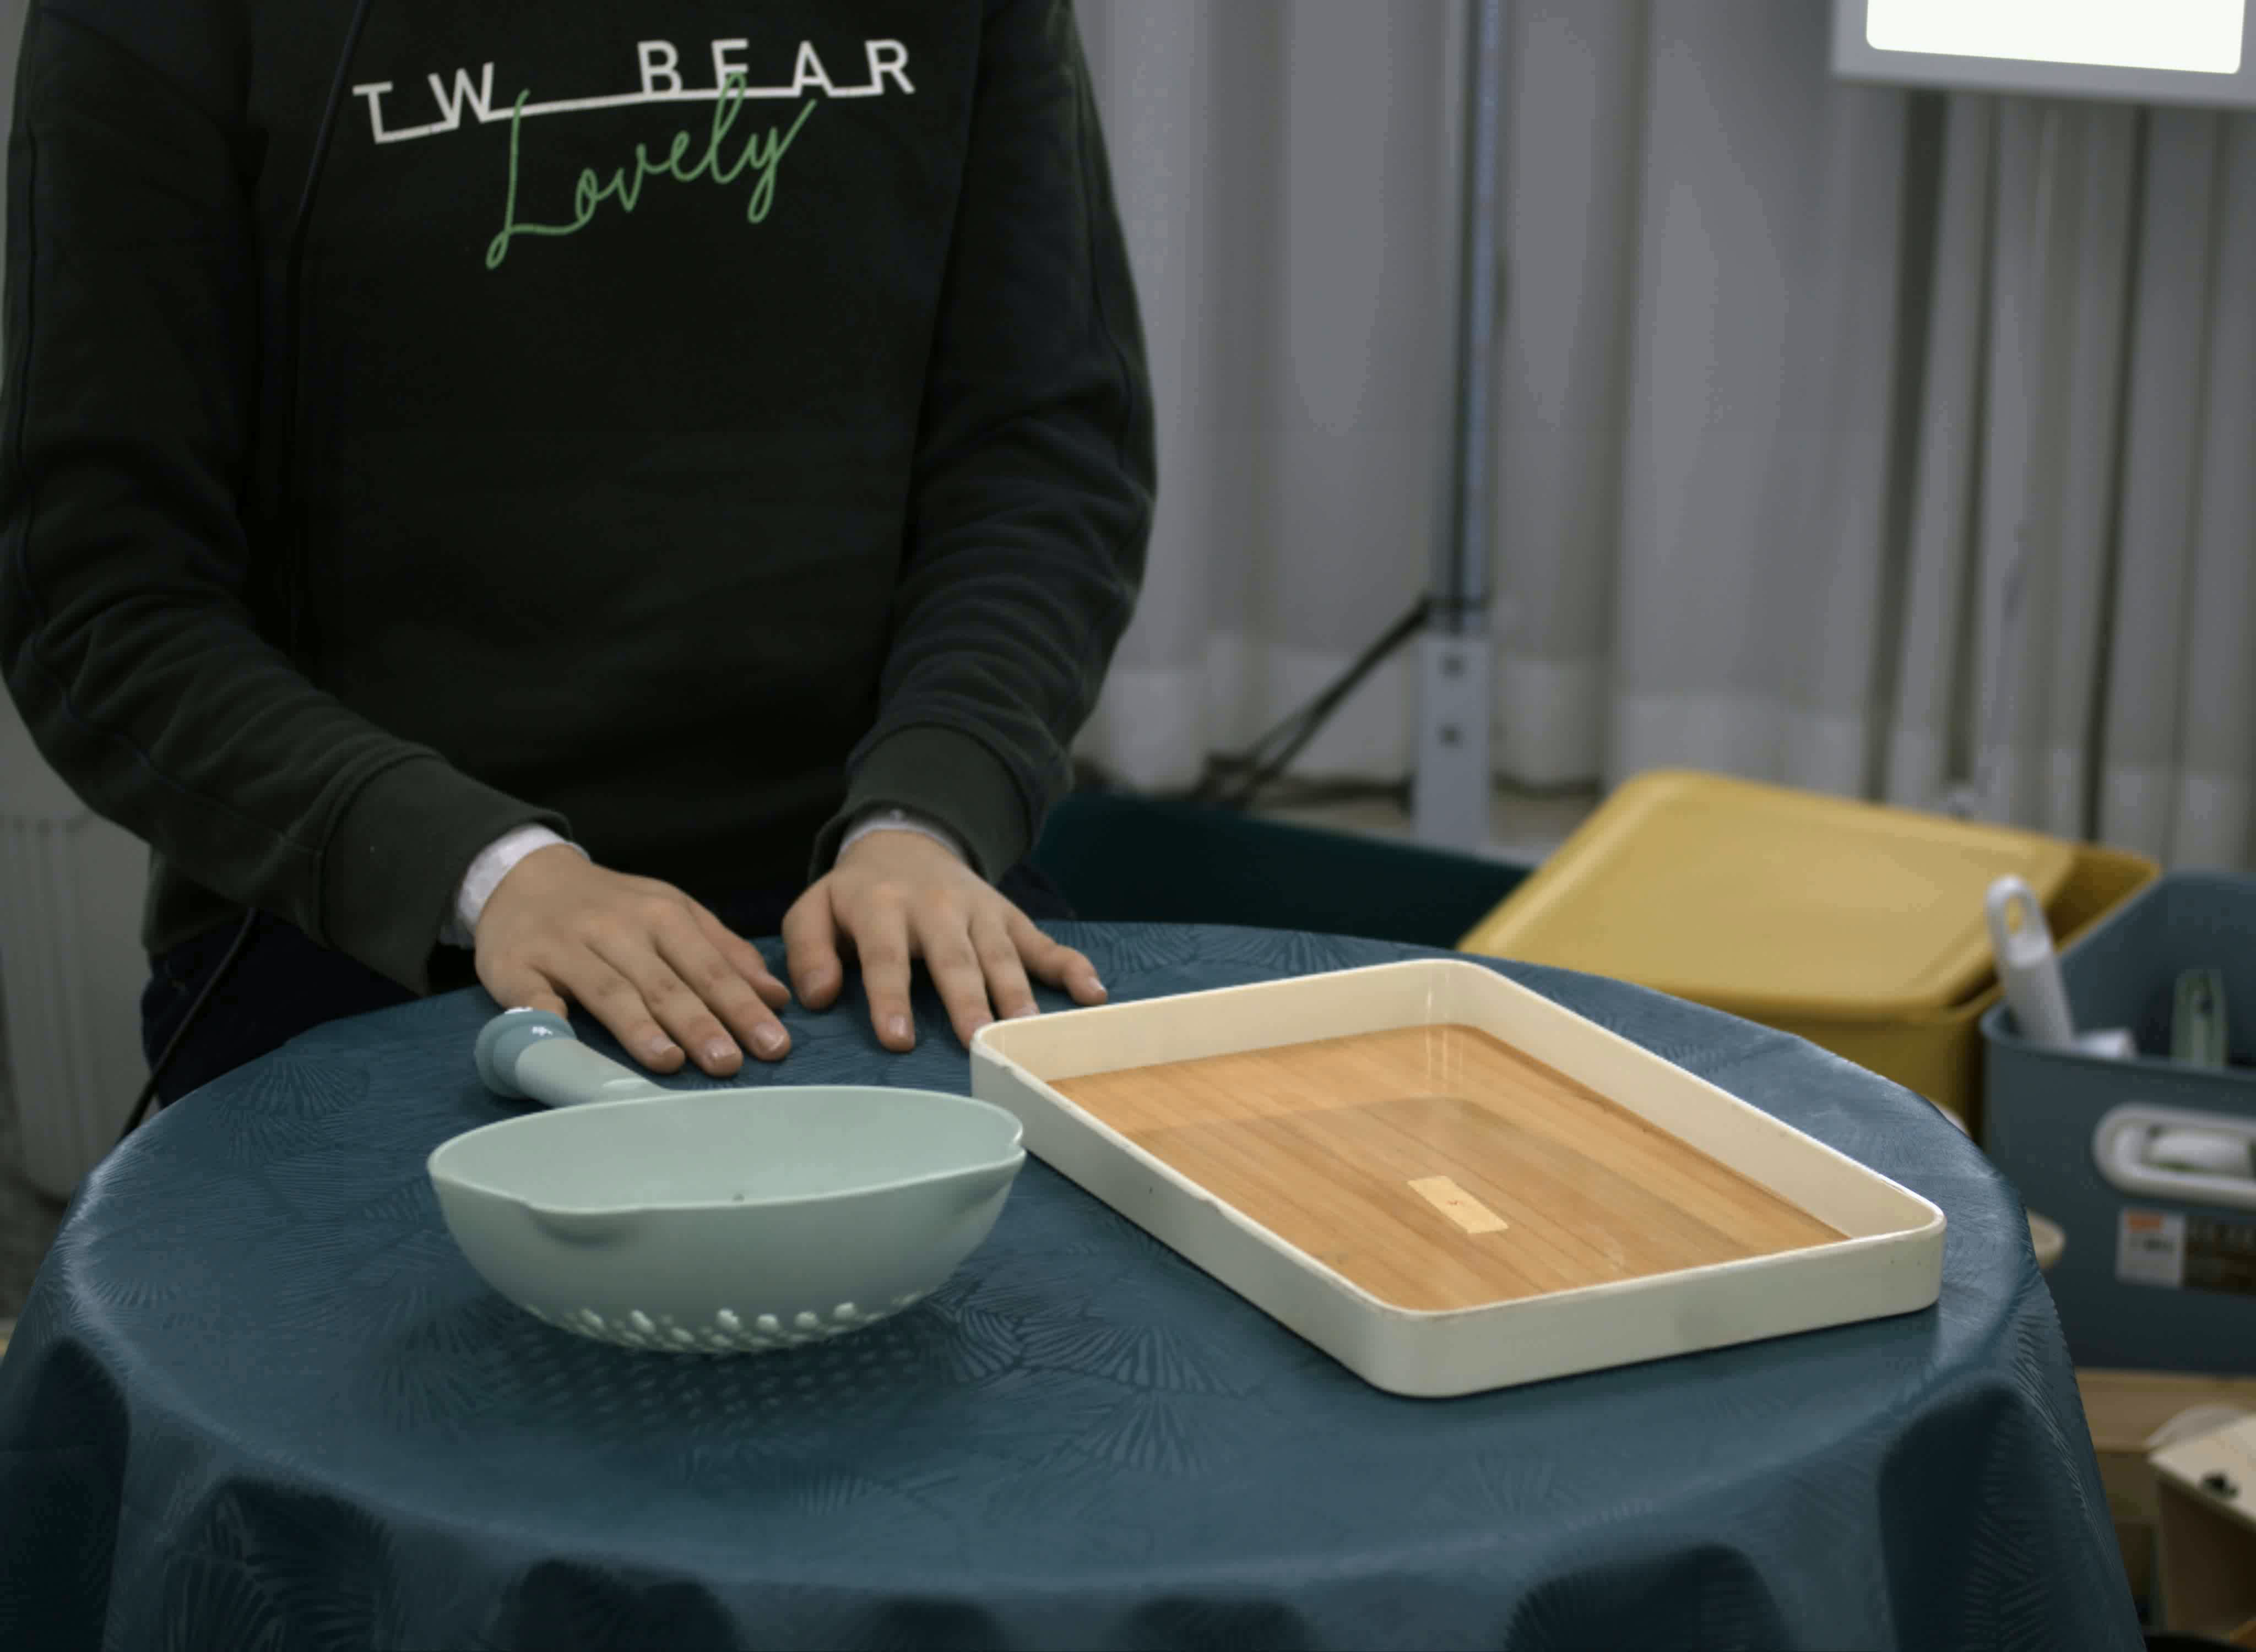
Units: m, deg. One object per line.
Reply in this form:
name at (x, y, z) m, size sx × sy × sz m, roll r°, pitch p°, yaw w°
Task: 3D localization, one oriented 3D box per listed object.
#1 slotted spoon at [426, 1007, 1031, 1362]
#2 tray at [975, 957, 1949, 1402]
slotted spoon at (-0.146, 0.091, 1.579) m, size 0.170 × 0.076 × 0.355 m, roll -5°, pitch 17°, yaw -20°
tray at (0.095, 0.103, 1.617) m, size 0.192 × 0.027 × 0.296 m, roll -7°, pitch 18°, yaw -26°
